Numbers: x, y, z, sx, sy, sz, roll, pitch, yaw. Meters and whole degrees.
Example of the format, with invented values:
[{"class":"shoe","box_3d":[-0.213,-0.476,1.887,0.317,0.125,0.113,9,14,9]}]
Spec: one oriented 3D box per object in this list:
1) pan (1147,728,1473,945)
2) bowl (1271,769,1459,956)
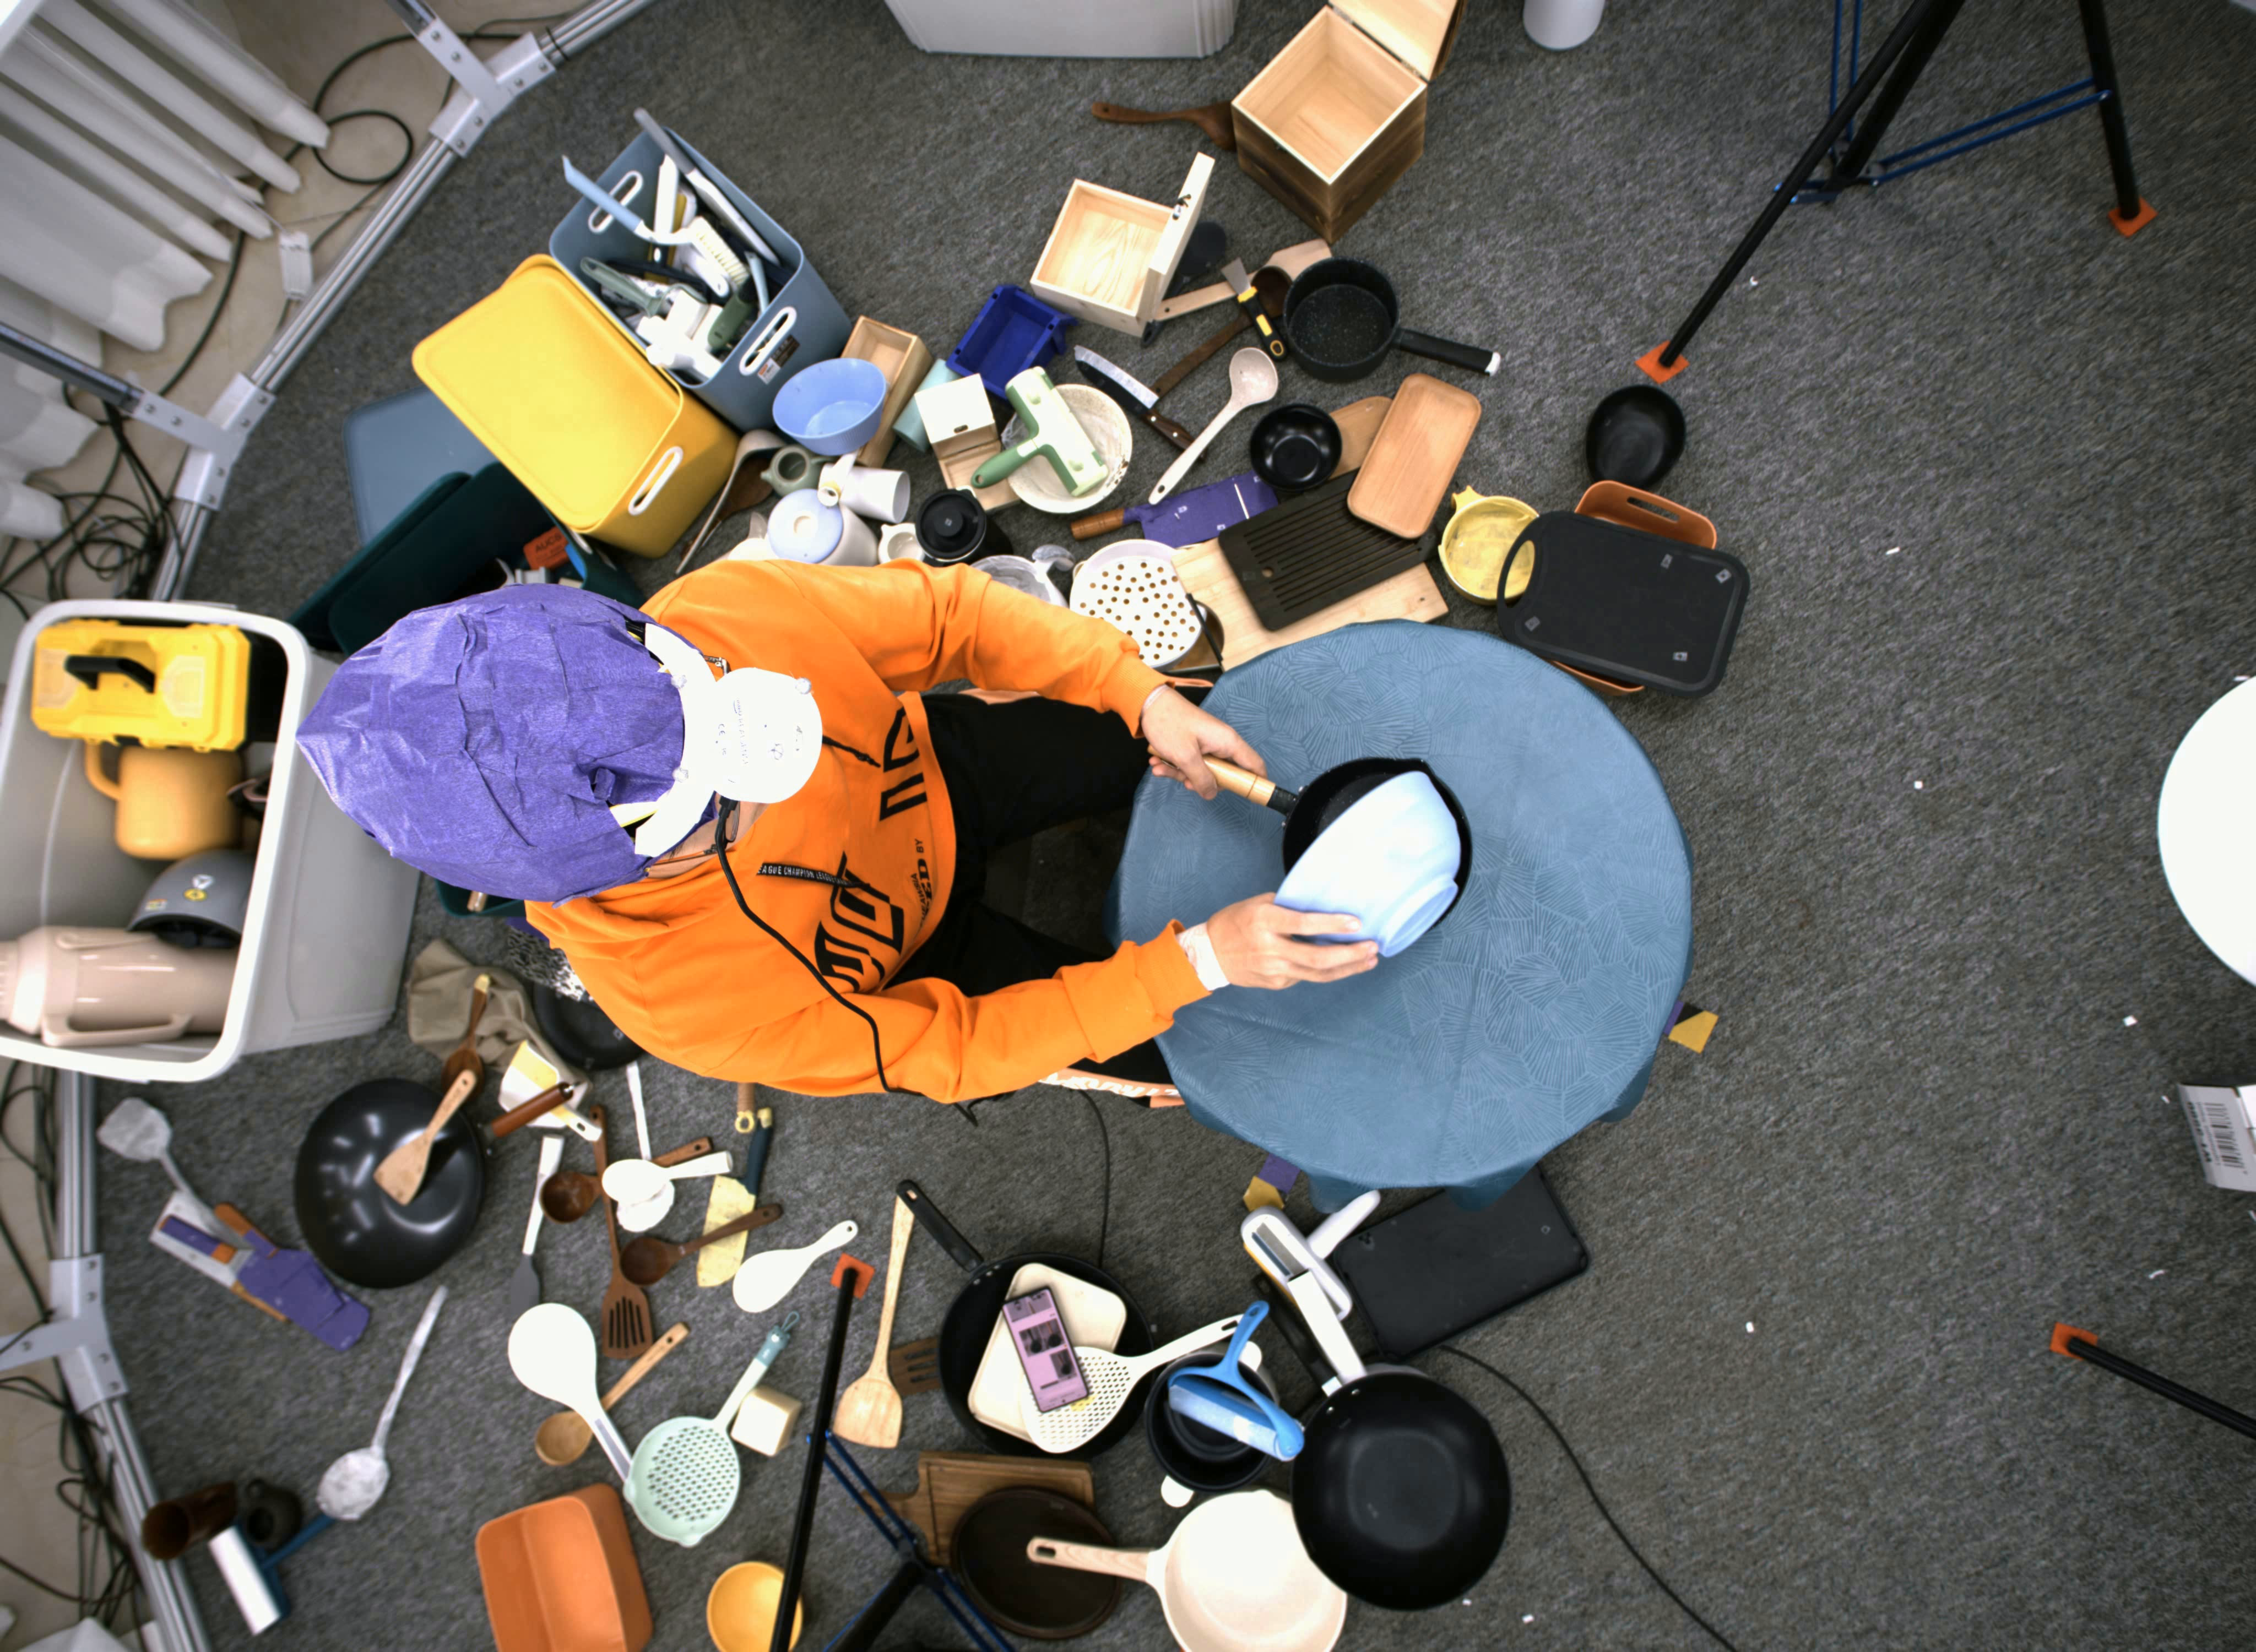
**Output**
[{"class":"pan","box_3d":[0.180,-0.013,1.382,0.342,0.107,0.210,27,106,11]},{"class":"bowl","box_3d":[0.233,0.050,1.259,0.197,0.198,0.094,-44,68,4]}]
